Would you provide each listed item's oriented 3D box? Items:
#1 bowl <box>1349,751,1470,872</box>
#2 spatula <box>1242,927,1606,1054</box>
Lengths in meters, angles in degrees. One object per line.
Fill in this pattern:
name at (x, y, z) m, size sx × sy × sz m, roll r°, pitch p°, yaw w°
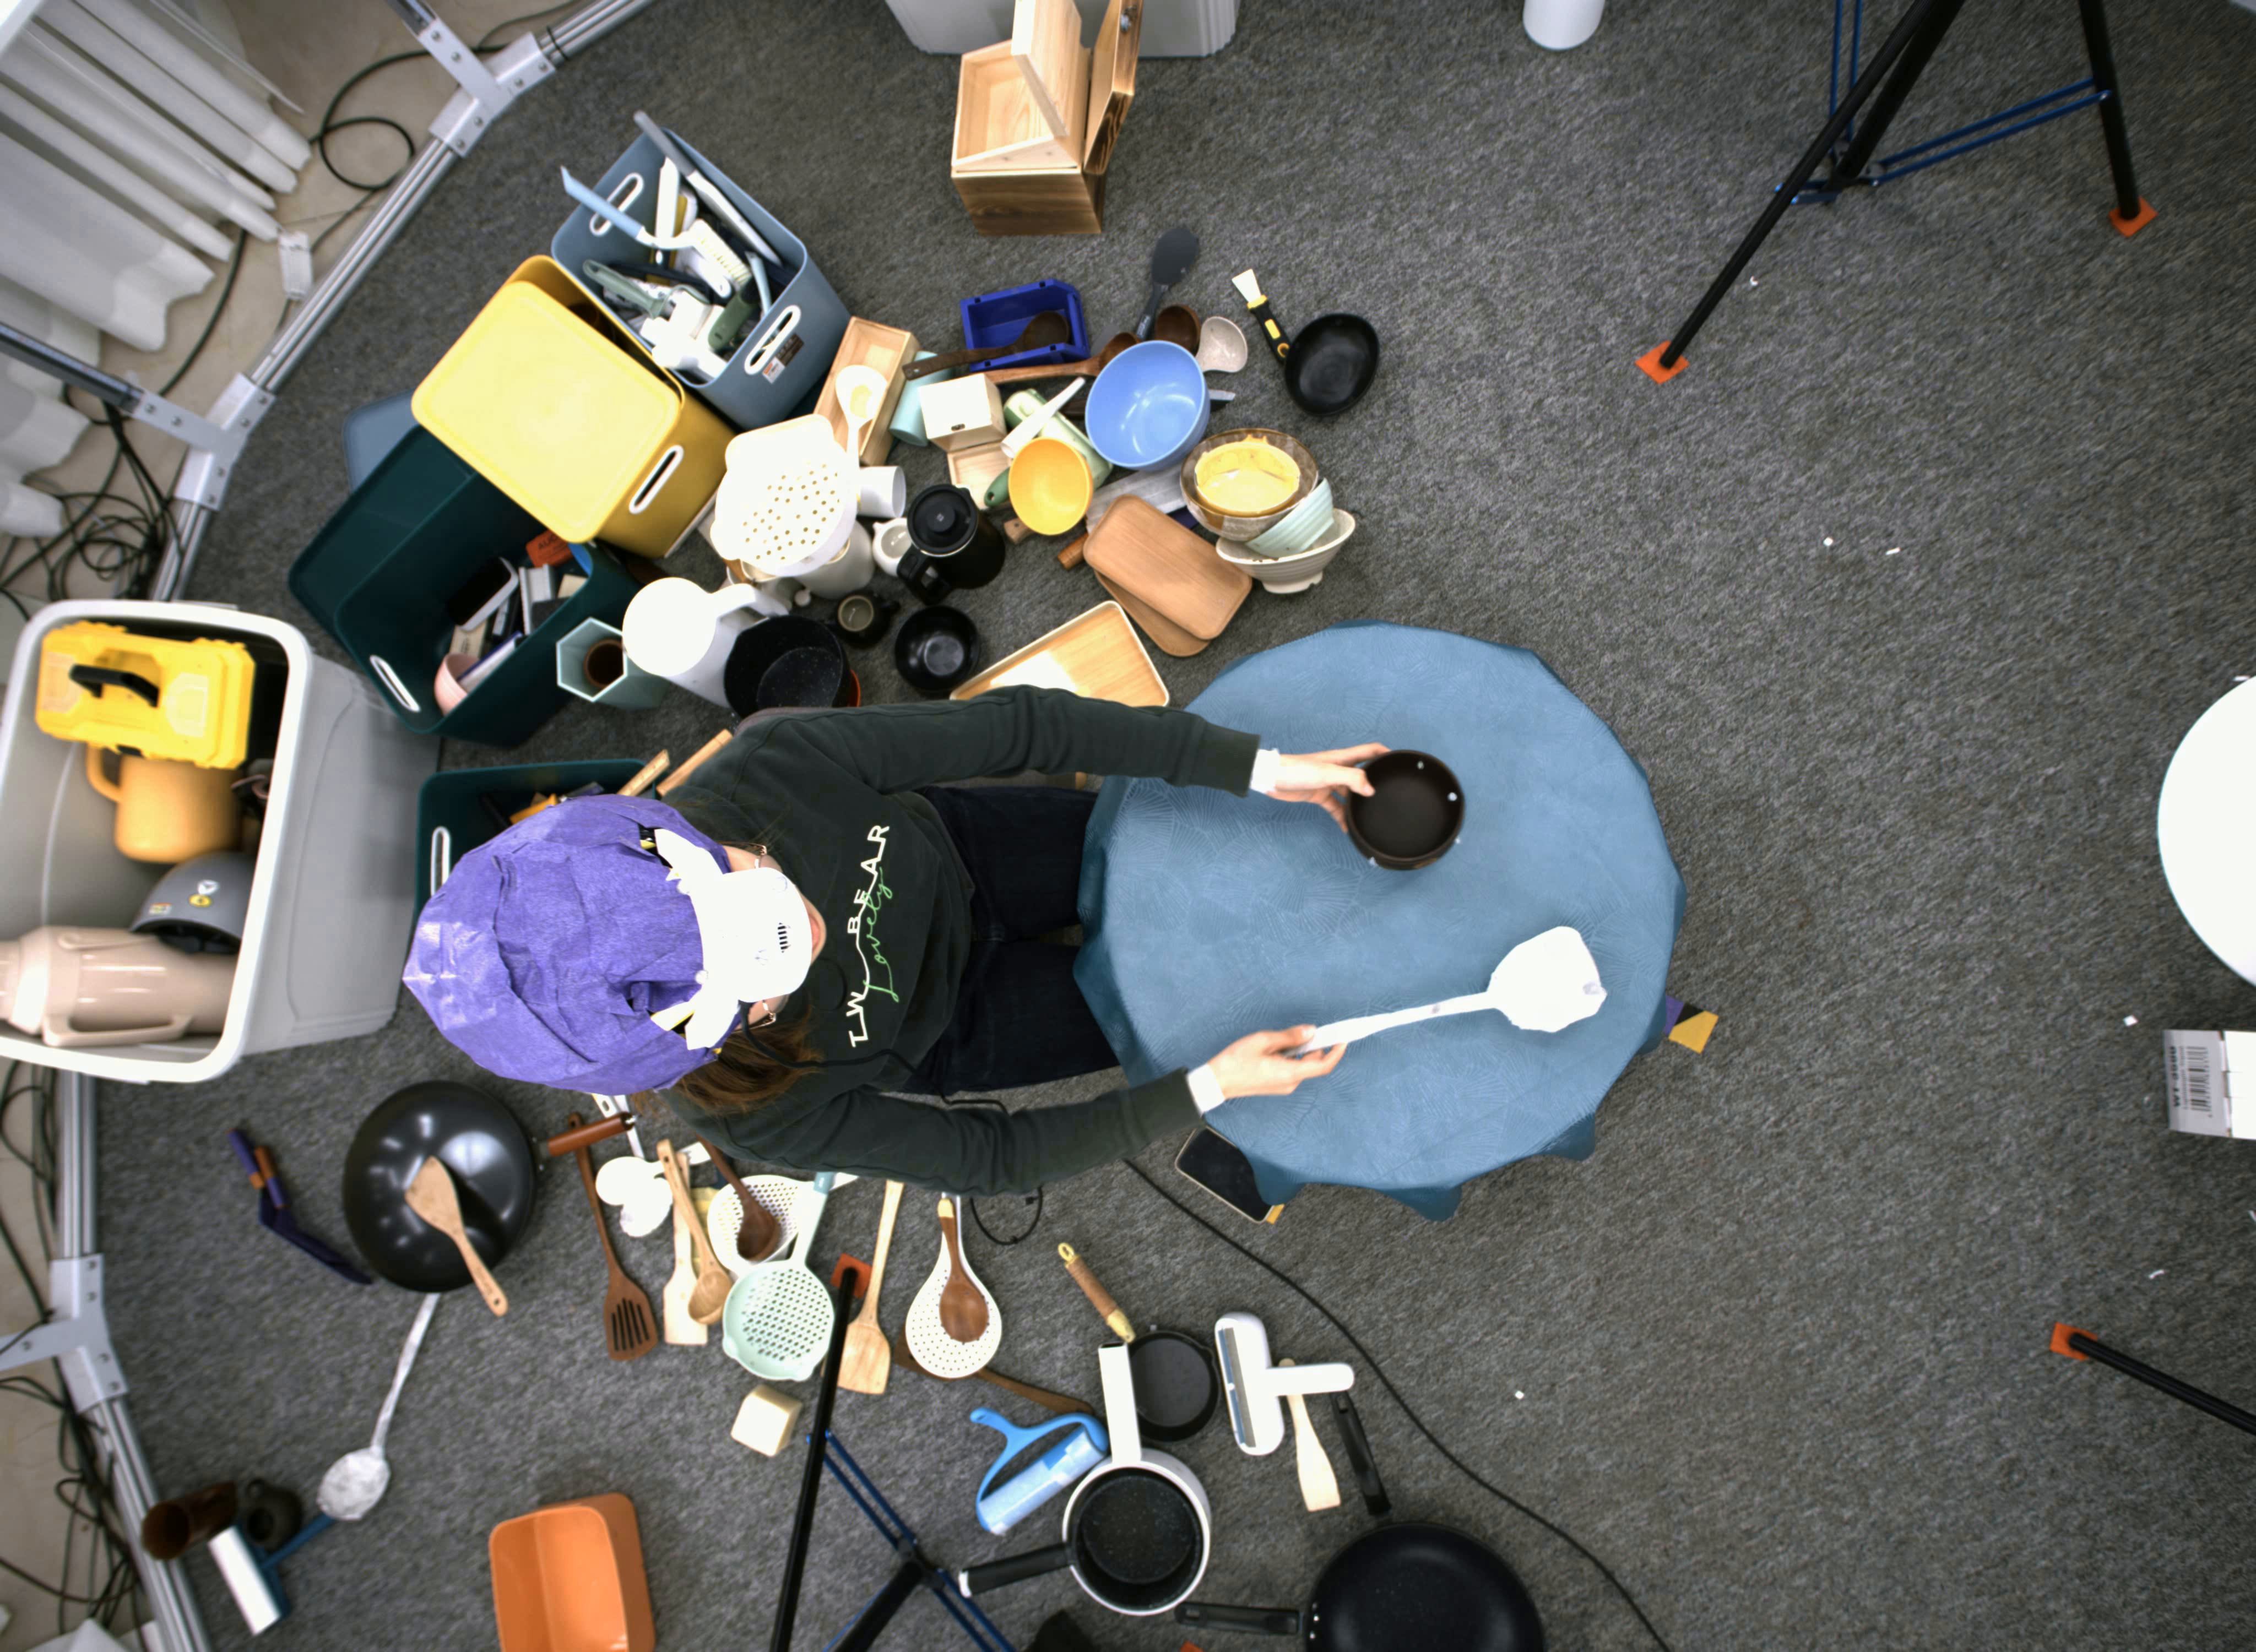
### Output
bowl at (0.277, -0.010, 1.364) m, size 0.118 × 0.071 × 0.116 m, roll -3°, pitch 70°, yaw 8°
spatula at (0.294, 0.182, 1.388) m, size 0.365 × 0.045 × 0.097 m, roll -12°, pitch 65°, yaw 1°
